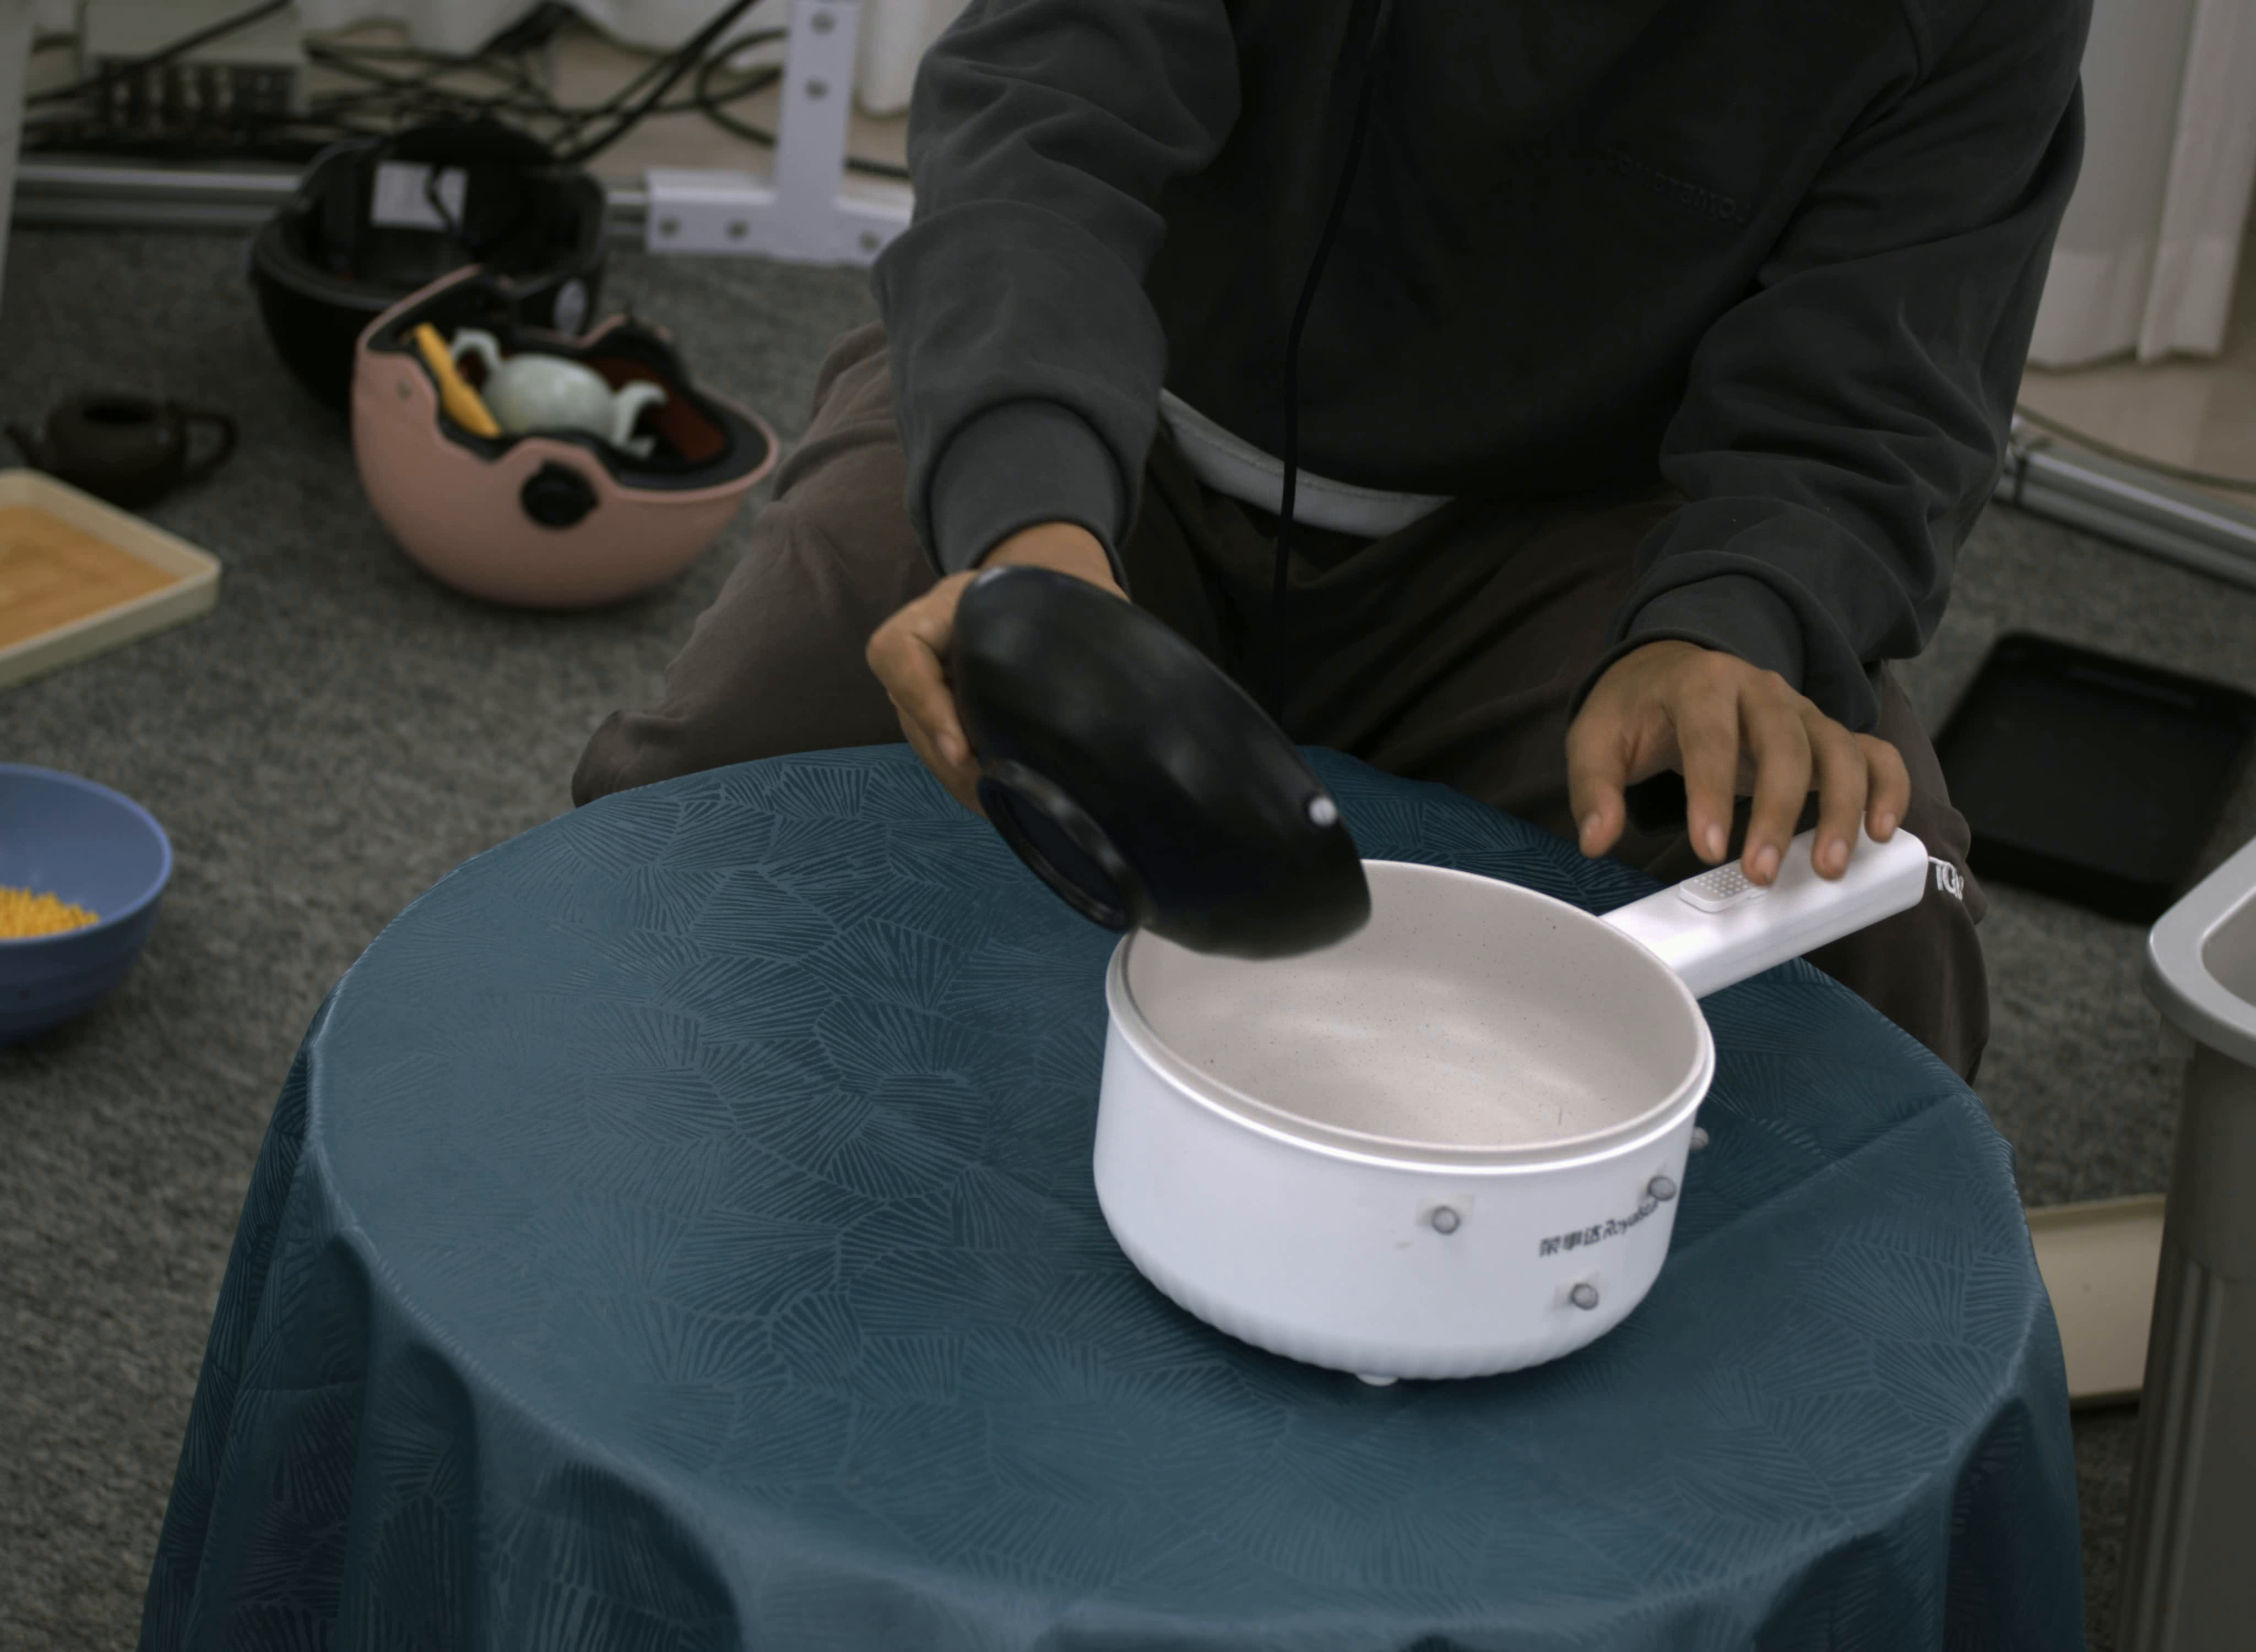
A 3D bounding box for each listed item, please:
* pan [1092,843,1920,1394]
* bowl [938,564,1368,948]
[{"bbox_3d":[0.141,0.090,1.815,0.353,0.102,0.203,-17,31,-42],"label":"pan"},{"bbox_3d":[-0.003,-0.013,1.703,0.171,0.137,0.067,41,74,9],"label":"bowl"}]
